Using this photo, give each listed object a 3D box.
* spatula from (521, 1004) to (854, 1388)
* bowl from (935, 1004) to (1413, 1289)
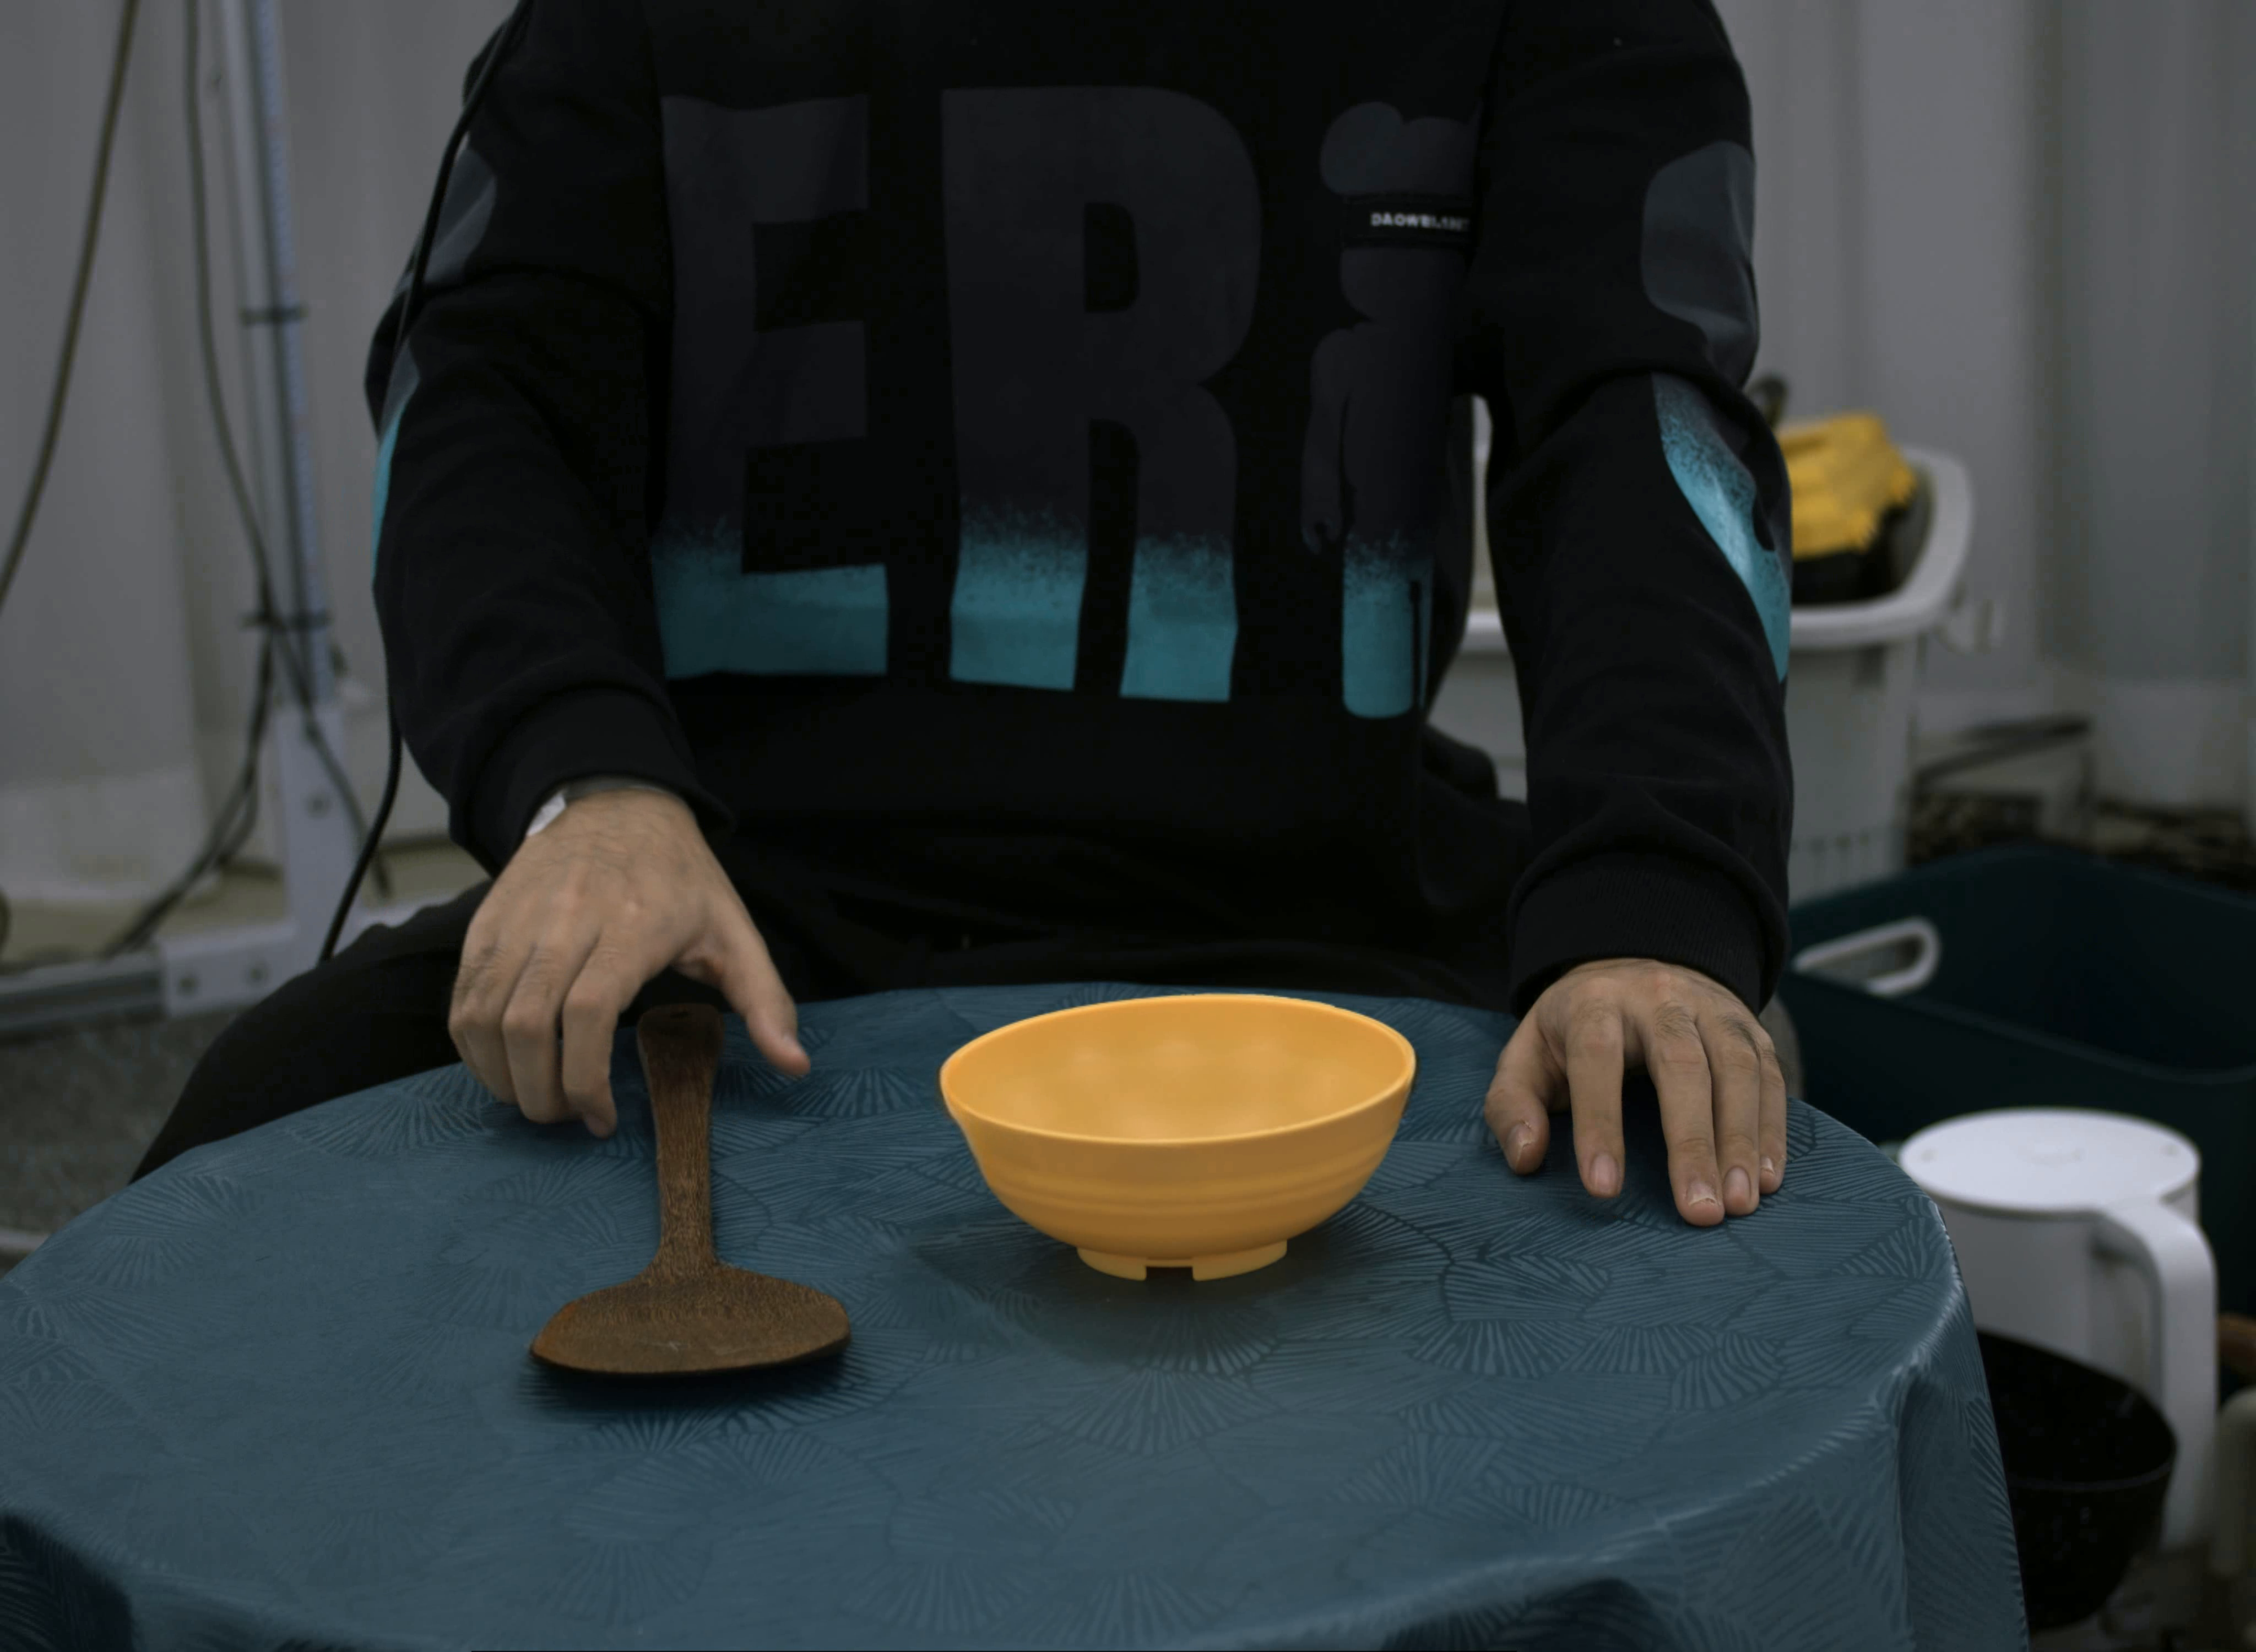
[{"bbox_3d":[-0.141,0.111,1.730,0.096,0.016,0.389,-4,15,-4],"label":"spatula"},{"bbox_3d":[0.014,0.102,1.655,0.145,0.060,0.146,0,14,0],"label":"bowl"}]
